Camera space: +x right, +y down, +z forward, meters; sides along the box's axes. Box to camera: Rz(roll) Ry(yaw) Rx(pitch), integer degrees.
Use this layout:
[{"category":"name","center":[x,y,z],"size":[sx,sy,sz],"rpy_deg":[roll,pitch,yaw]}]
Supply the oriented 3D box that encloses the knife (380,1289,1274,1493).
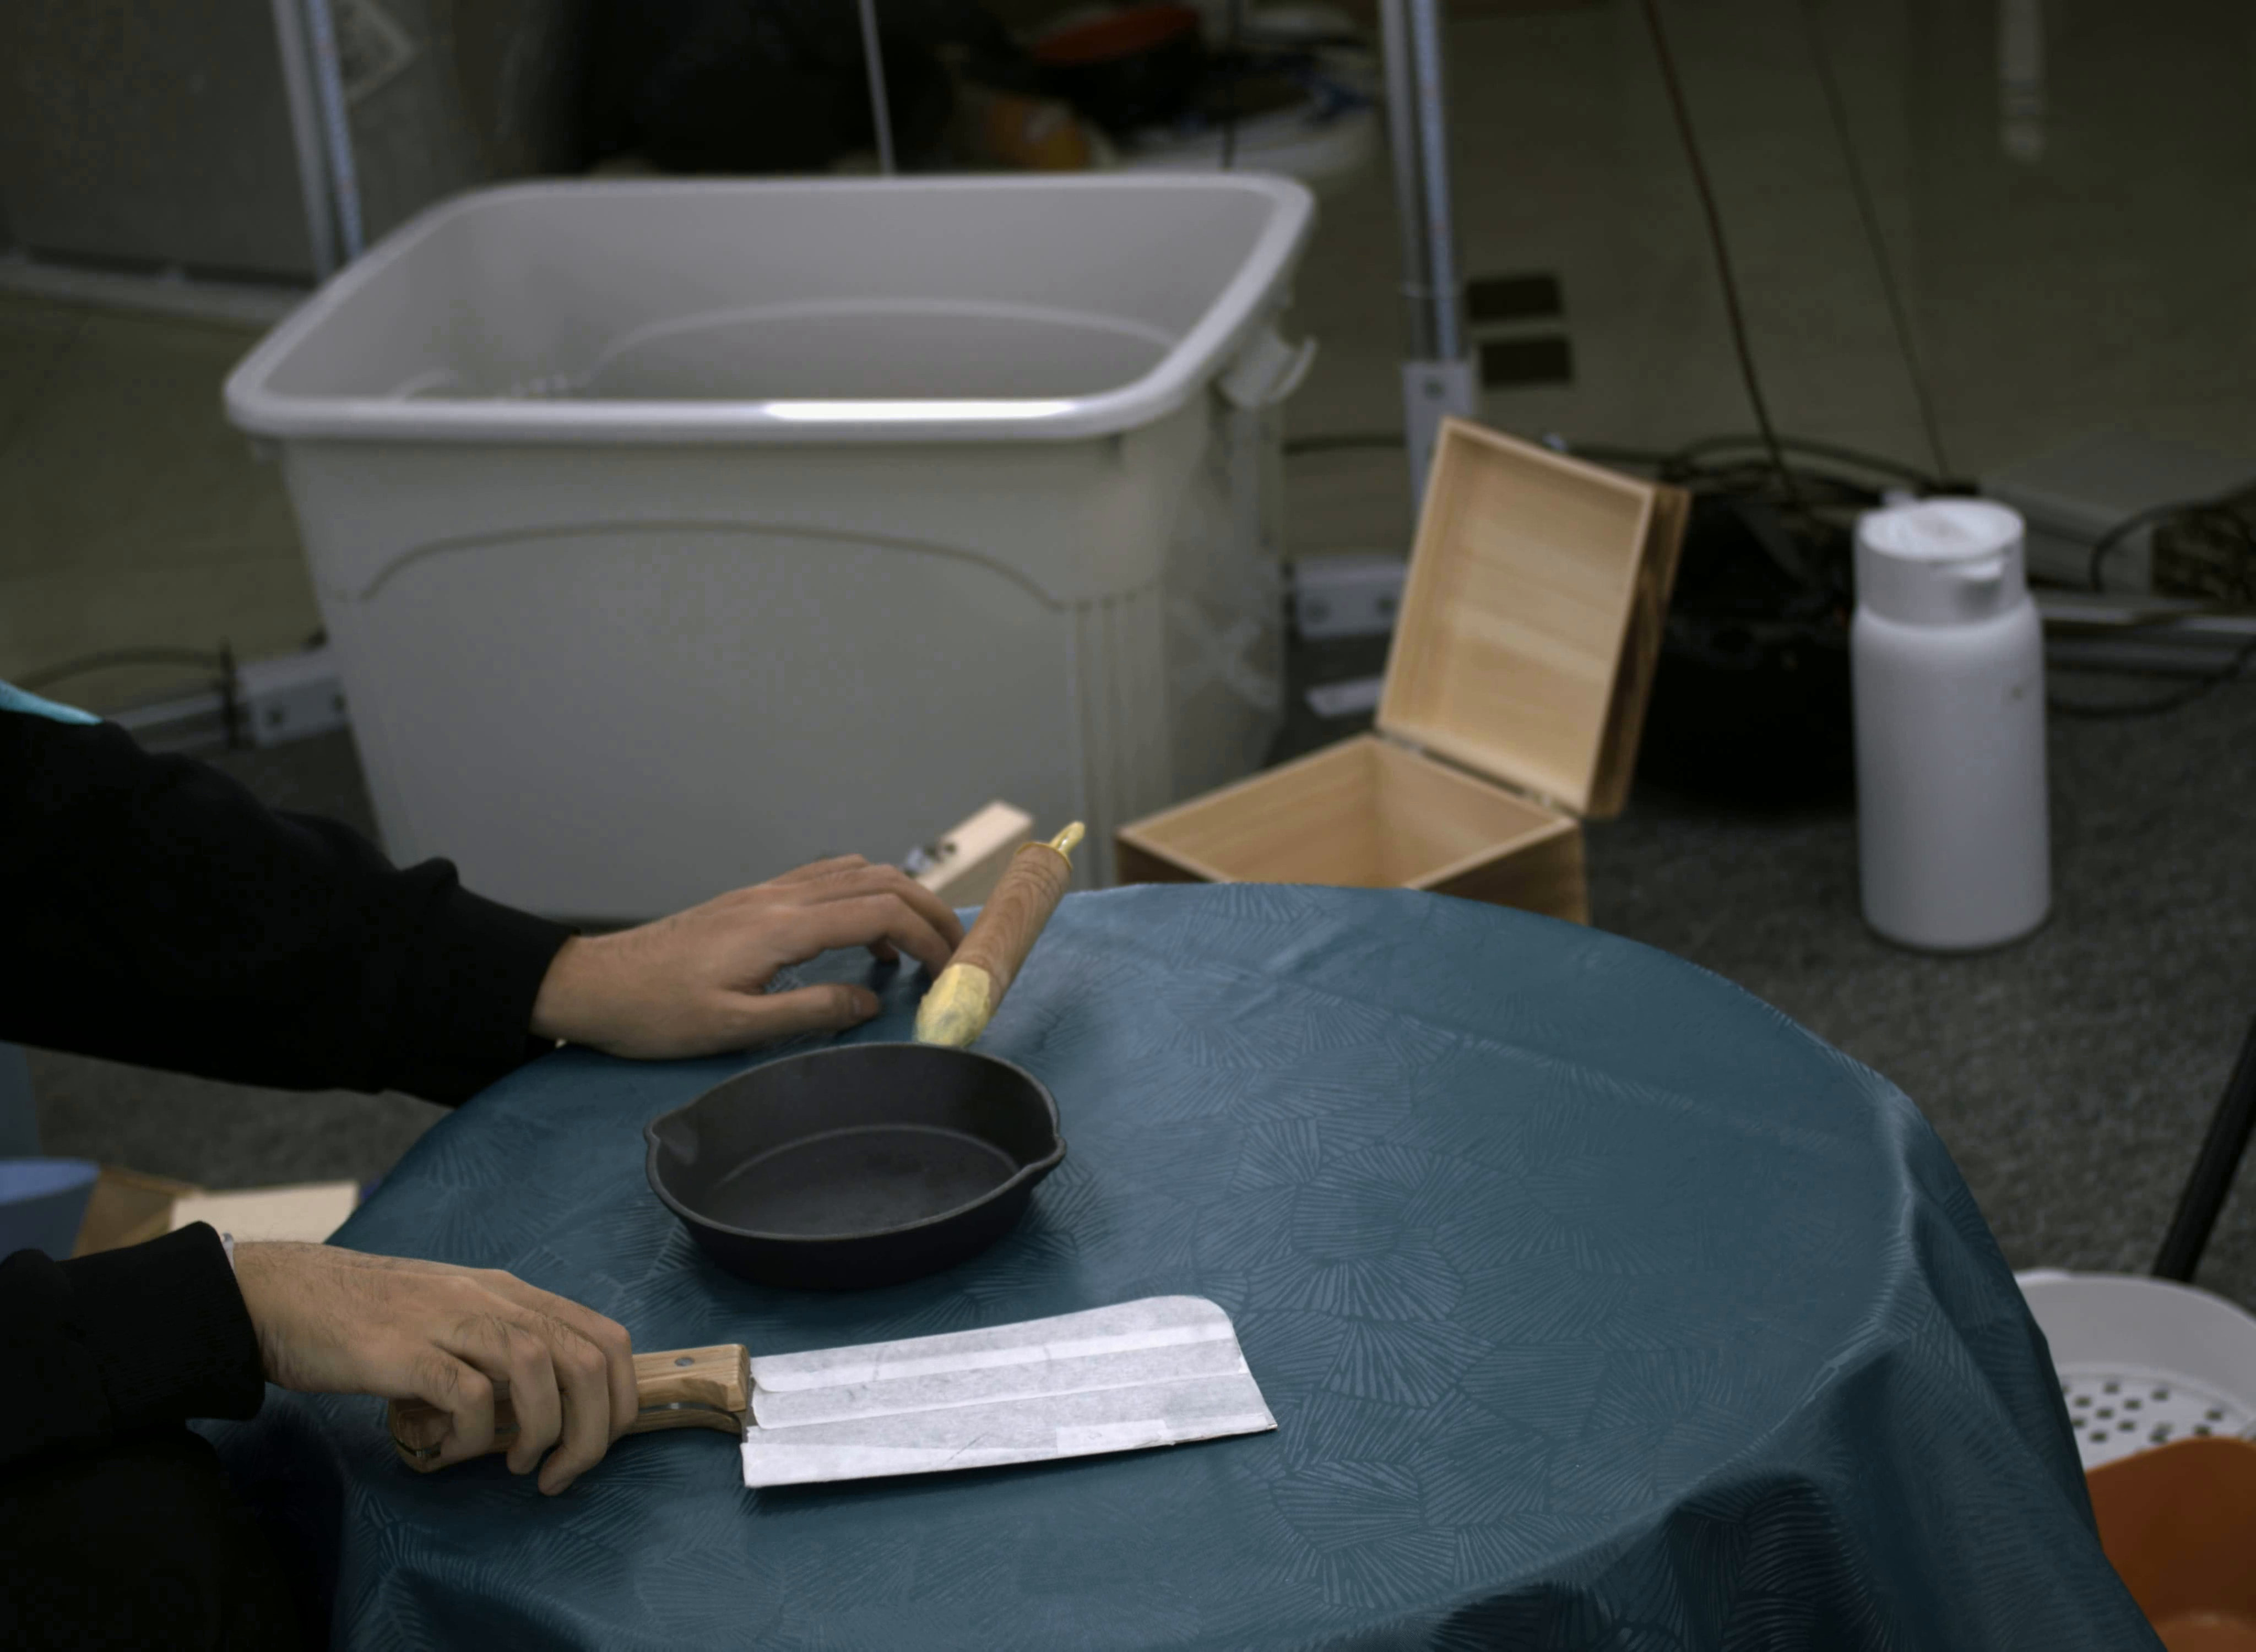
[{"category":"knife","center":[-0.108,0.204,2.013],"size":[0.315,0.022,0.112],"rpy_deg":[-5,26,-2]}]

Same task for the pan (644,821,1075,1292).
[{"category":"pan","center":[-0.076,0.088,2.214],"size":[0.168,0.050,0.319],"rpy_deg":[3,28,21]}]
